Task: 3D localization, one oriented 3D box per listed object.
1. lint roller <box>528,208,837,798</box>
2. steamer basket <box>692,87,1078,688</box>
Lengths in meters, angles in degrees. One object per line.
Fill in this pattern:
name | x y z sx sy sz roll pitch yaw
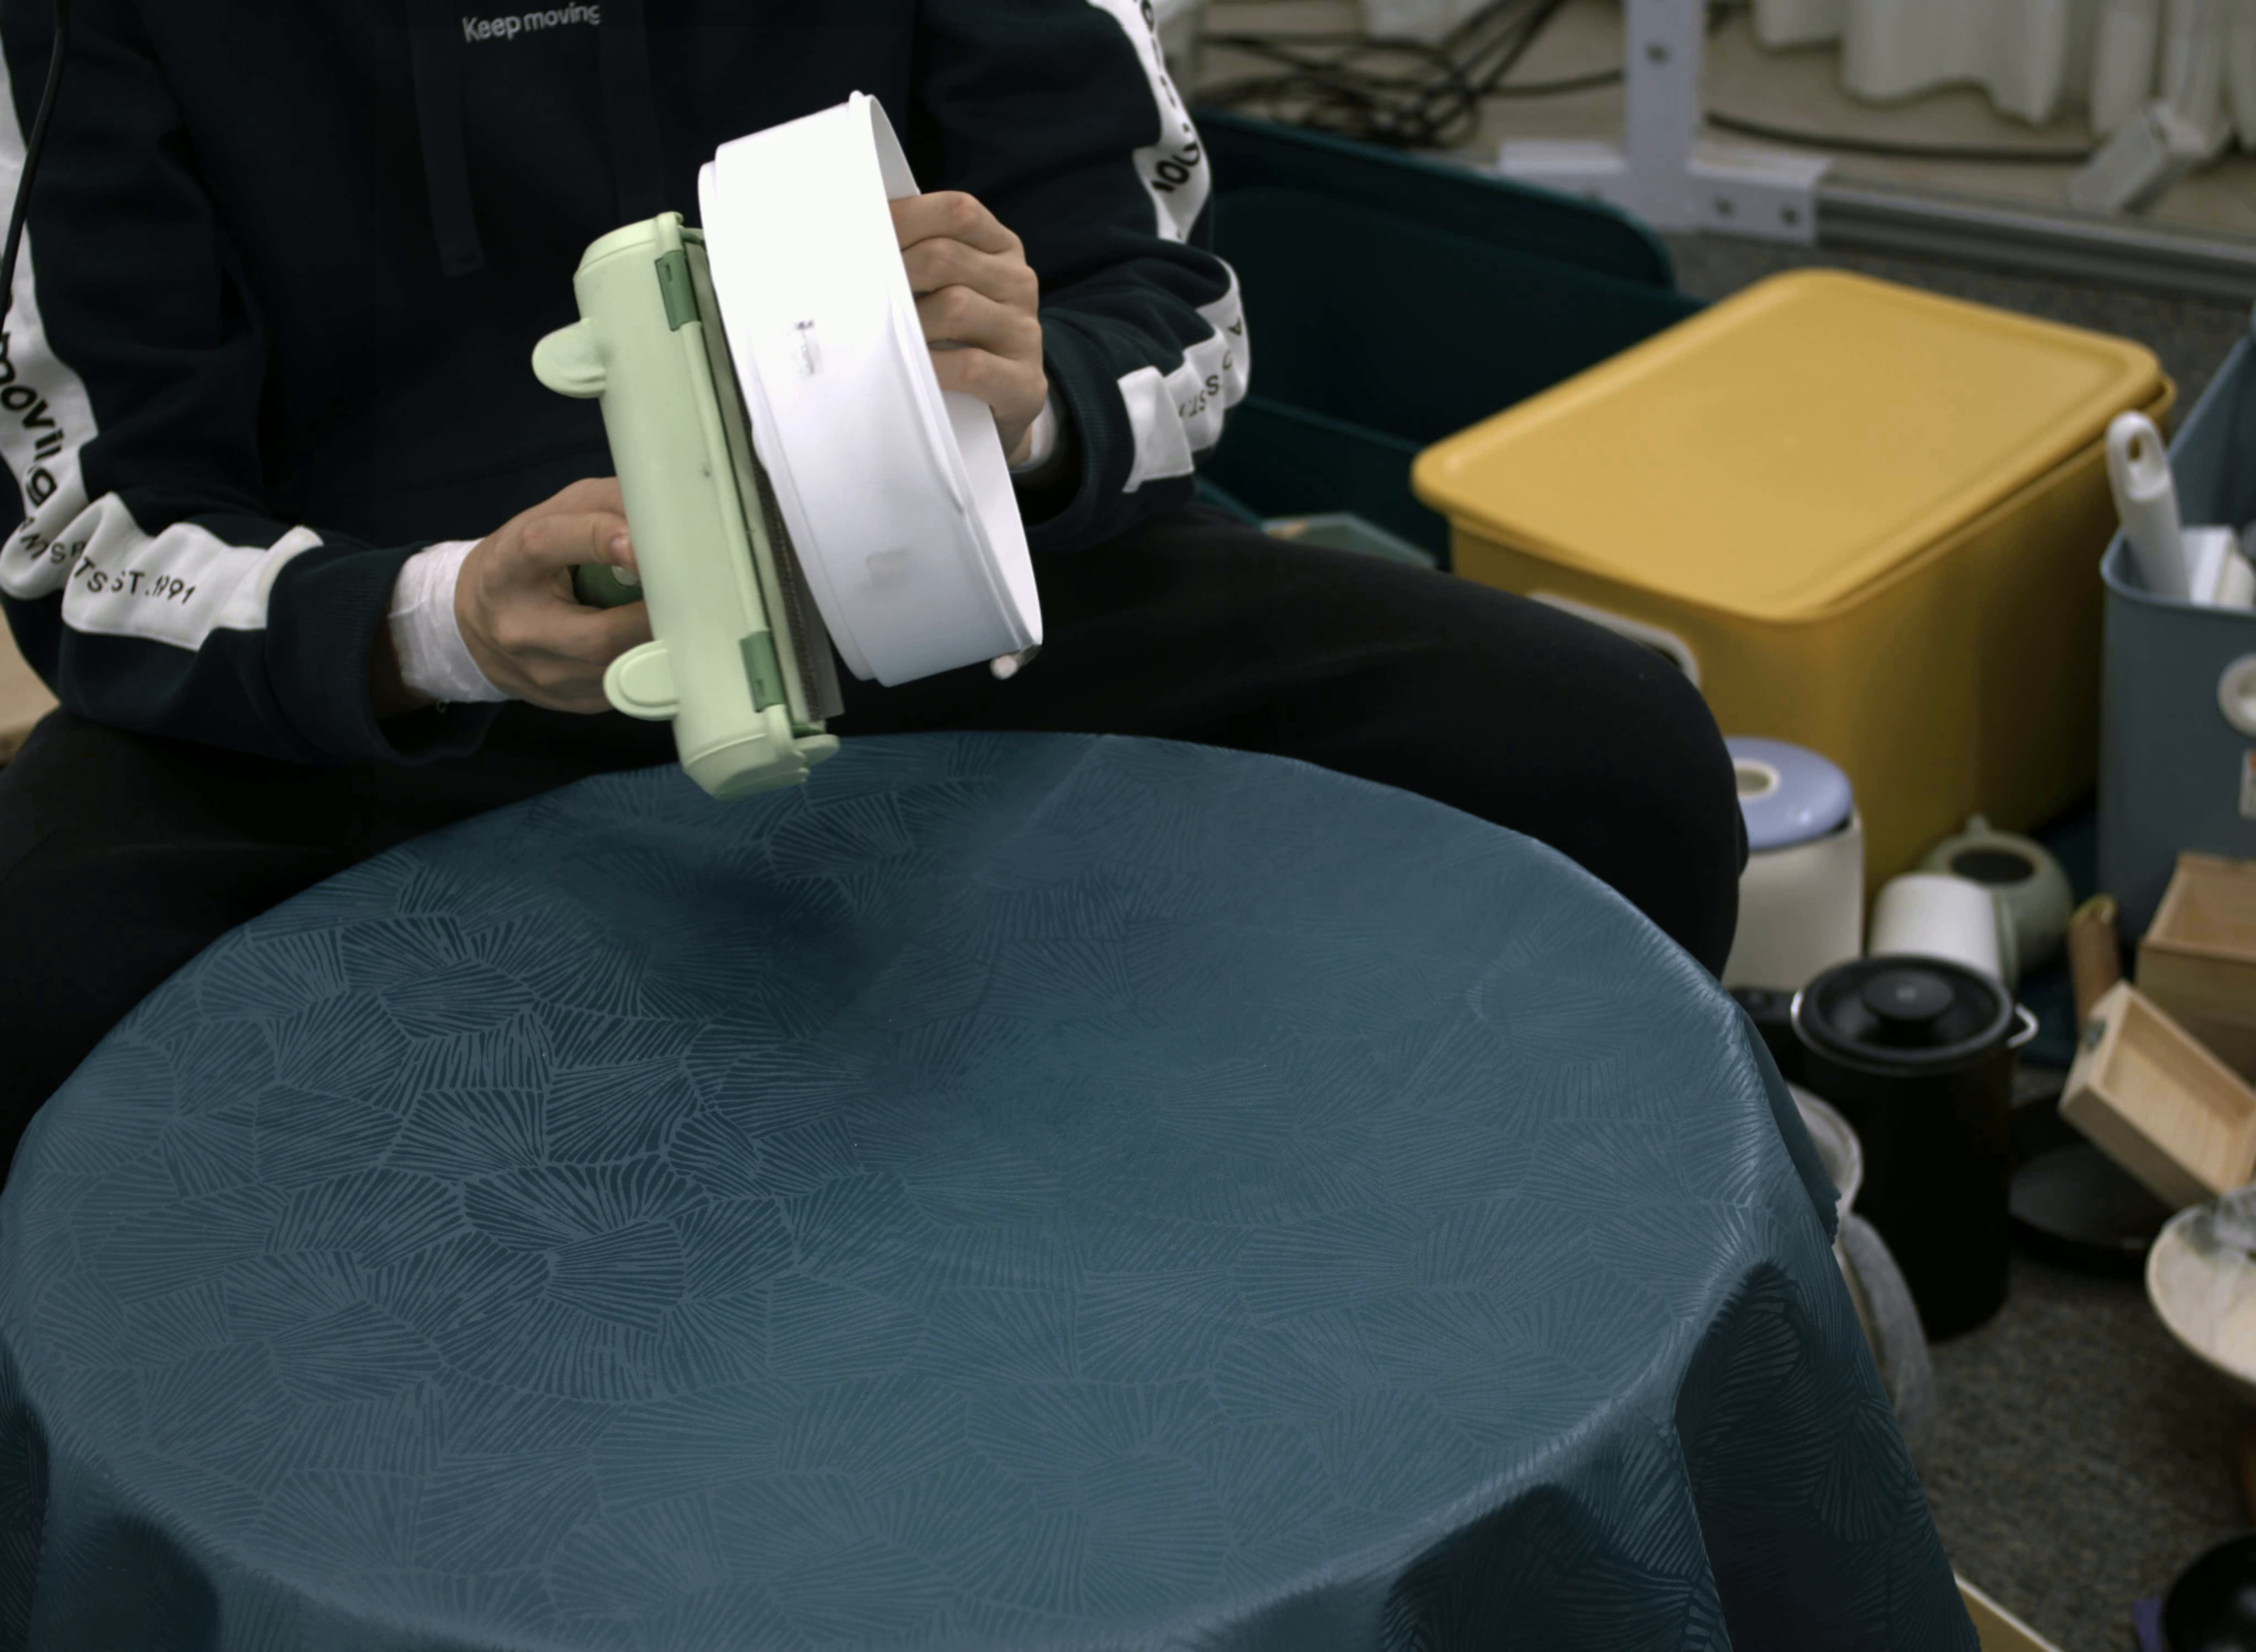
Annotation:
lint roller | -0.179 -0.093 1.958 0.082 0.200 0.180 -5 -14 -34
steamer basket | -0.083 -0.146 1.917 0.069 0.201 0.232 -20 10 11
